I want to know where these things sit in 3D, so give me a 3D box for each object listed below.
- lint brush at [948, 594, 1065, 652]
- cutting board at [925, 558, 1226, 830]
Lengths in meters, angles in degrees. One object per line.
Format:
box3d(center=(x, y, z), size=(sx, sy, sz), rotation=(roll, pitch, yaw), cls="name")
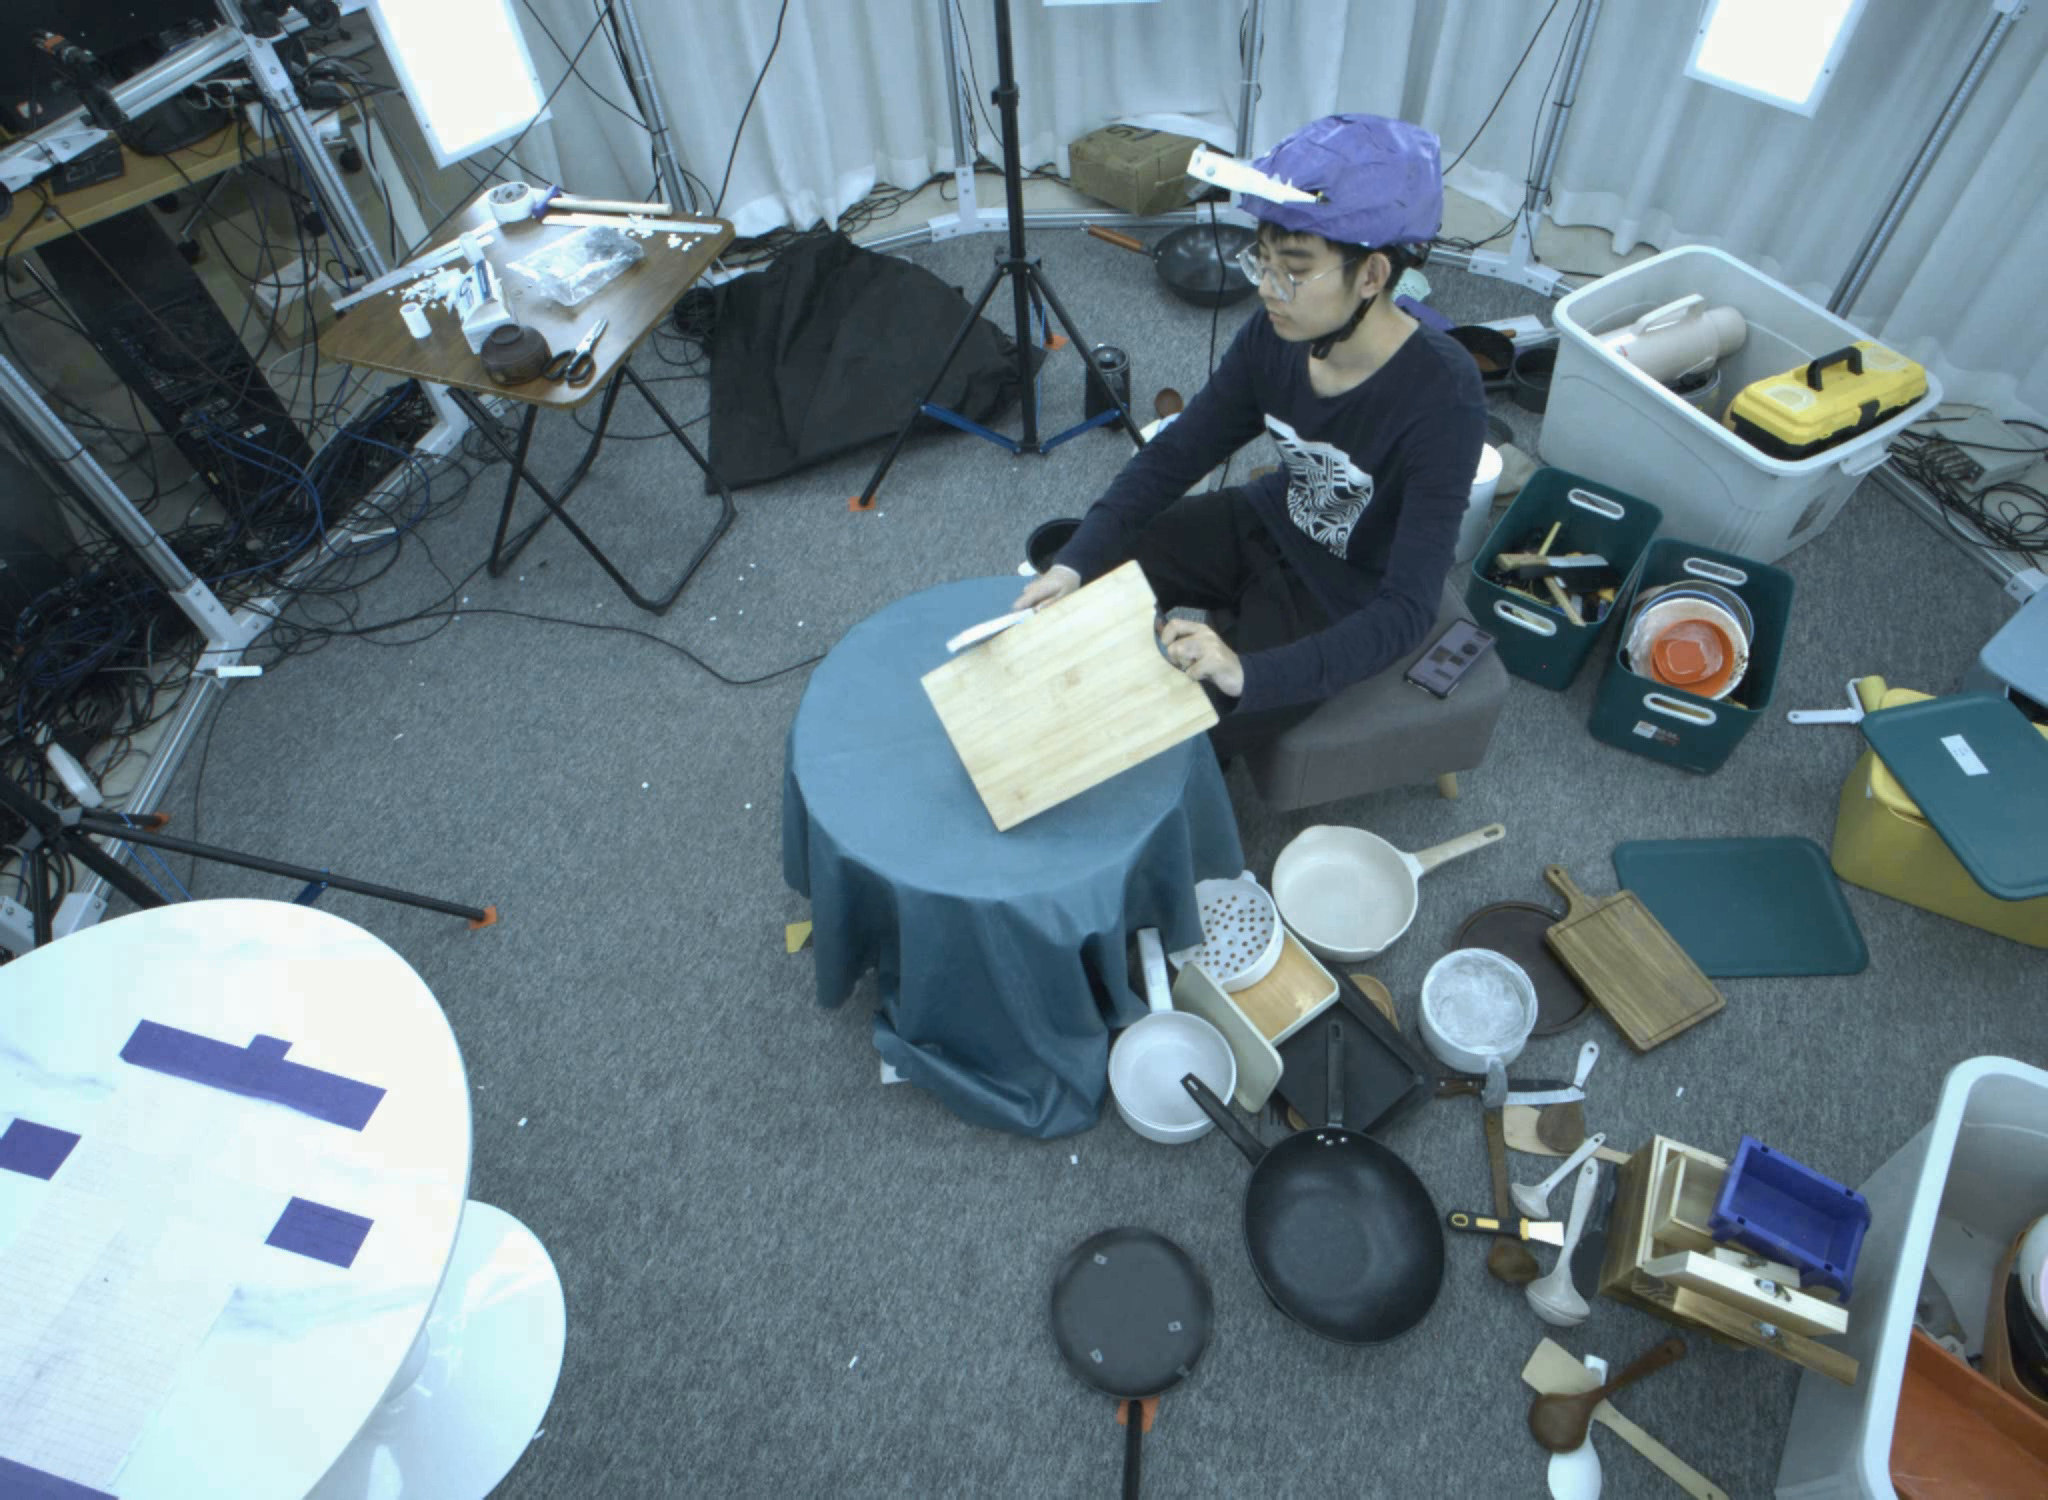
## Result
box3d(center=(-0.016, -0.185, 1.733), size=(0.021, 0.059, 0.312), rotation=(58, 32, 0), cls="lint brush")
box3d(center=(0.062, -0.071, 1.656), size=(0.346, 0.024, 0.251), rotation=(-28, 93, 17), cls="cutting board")
